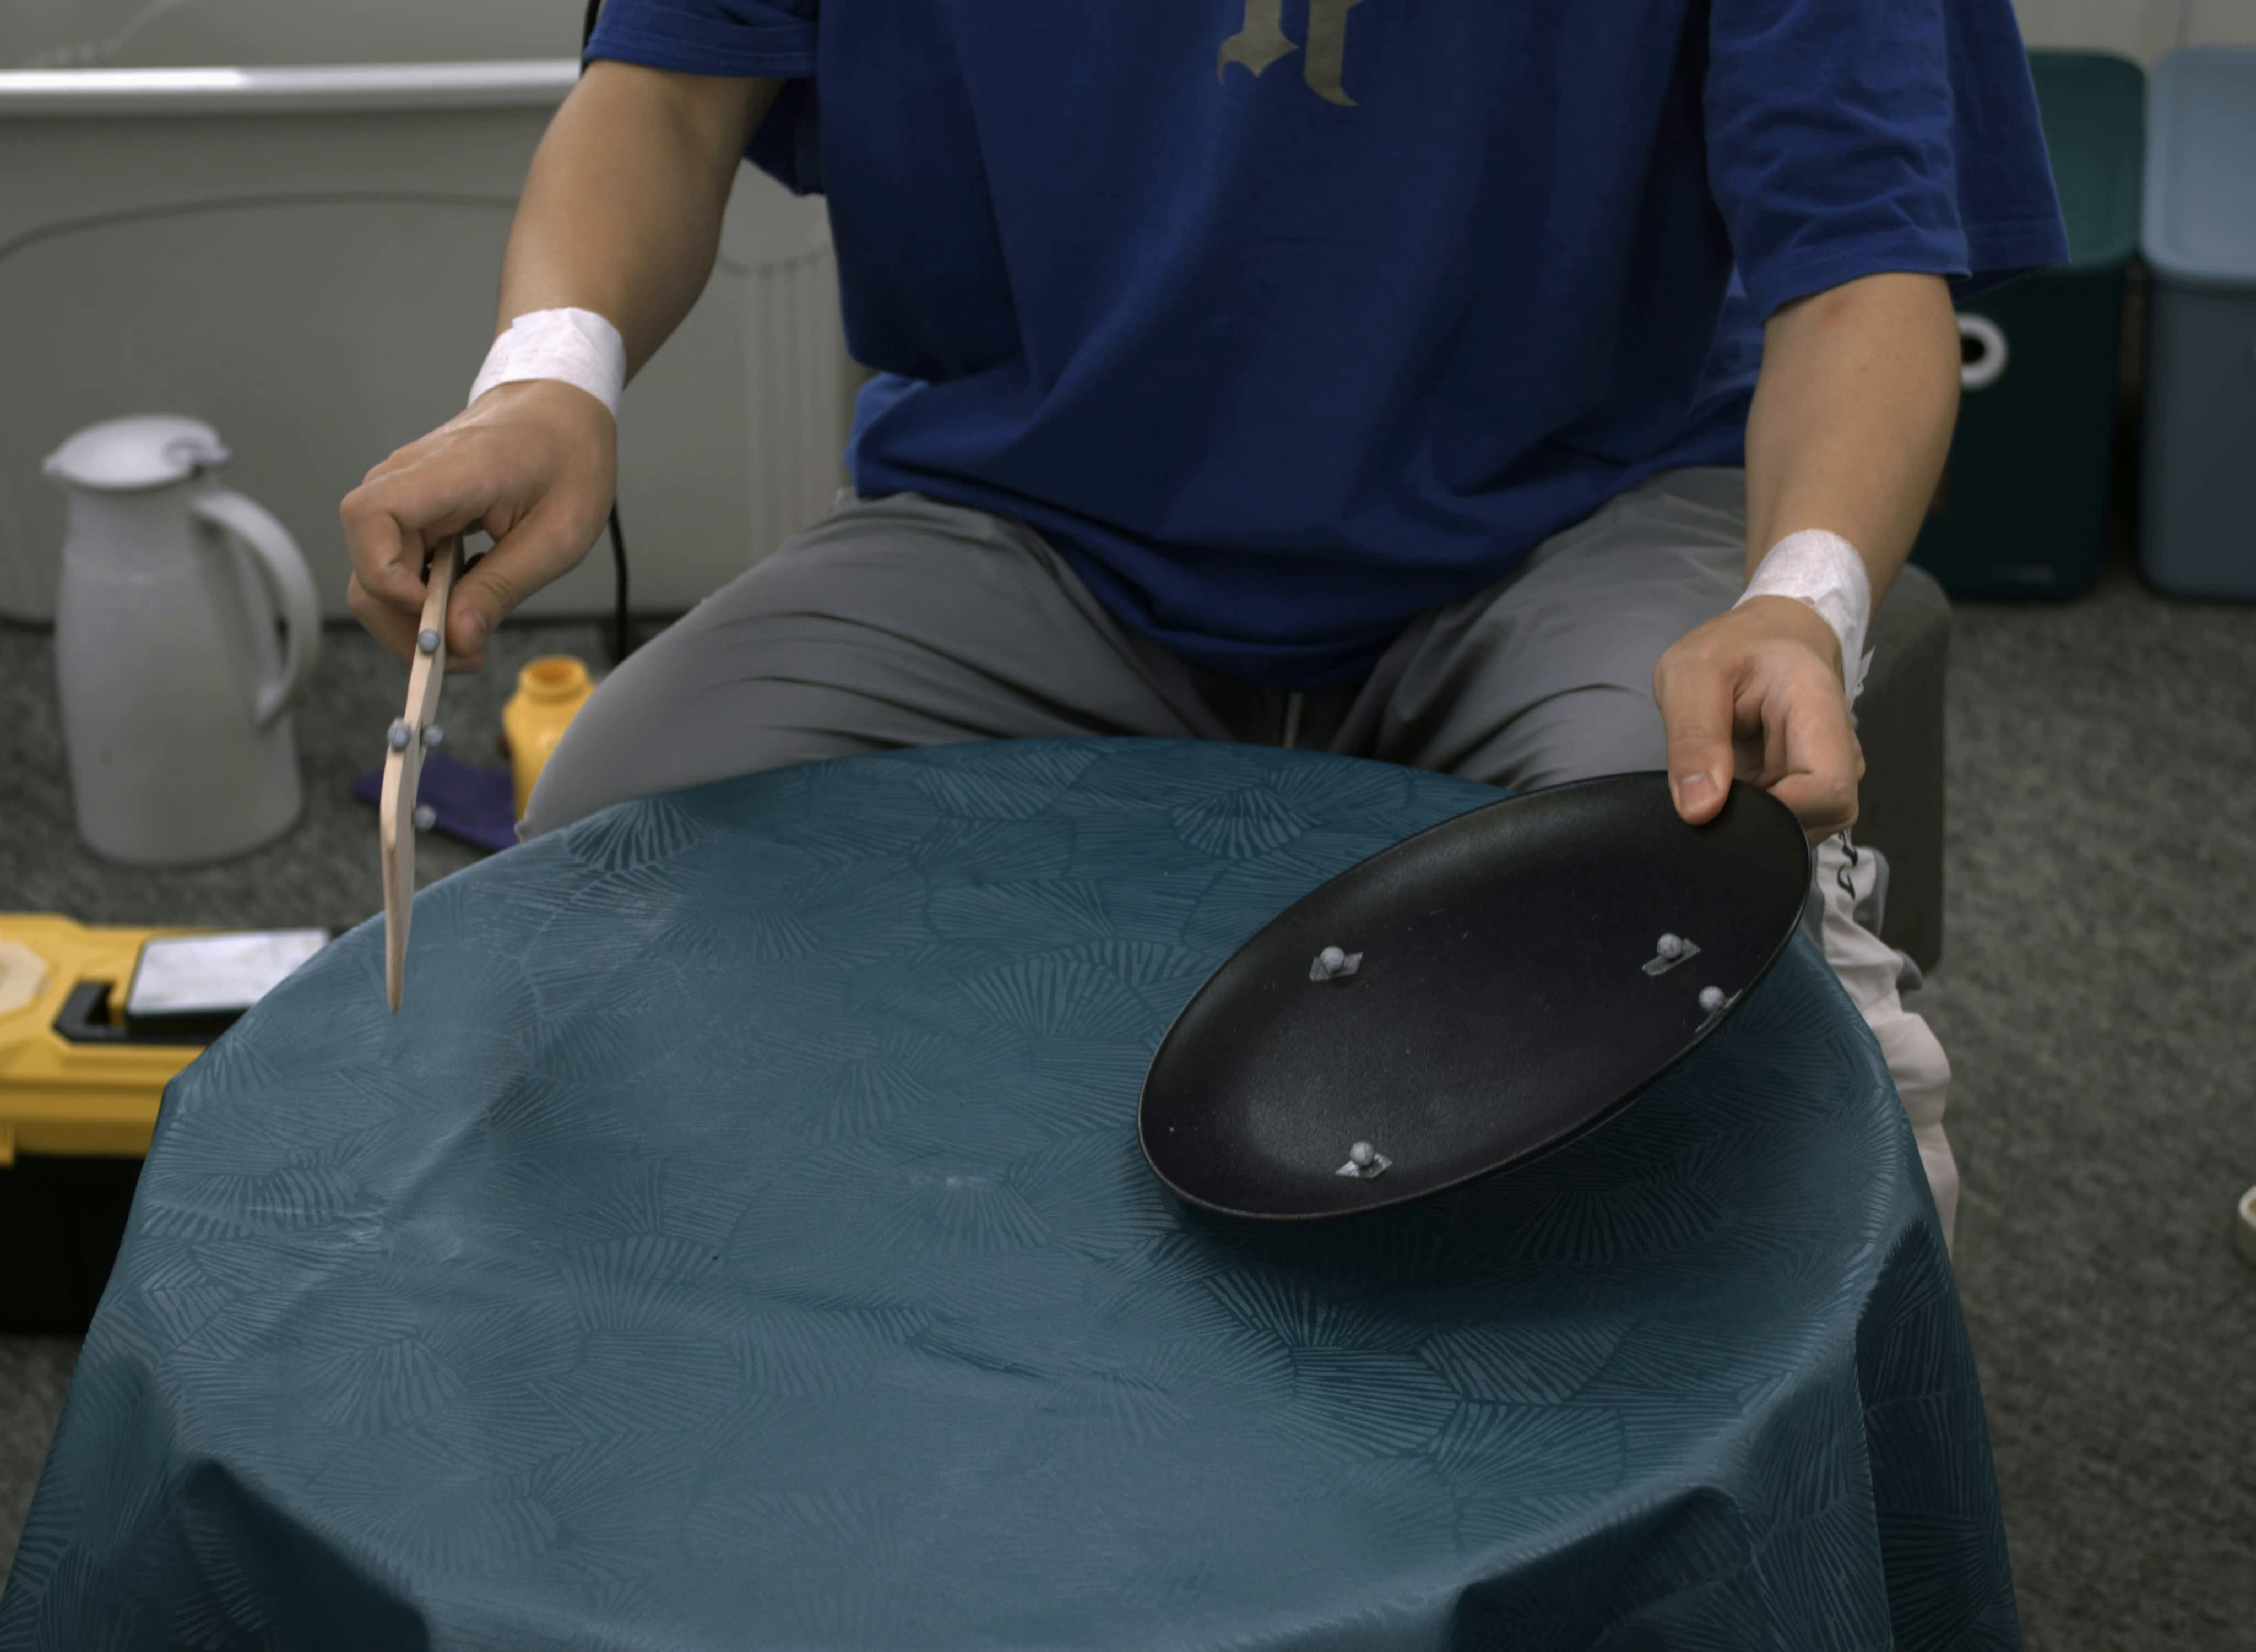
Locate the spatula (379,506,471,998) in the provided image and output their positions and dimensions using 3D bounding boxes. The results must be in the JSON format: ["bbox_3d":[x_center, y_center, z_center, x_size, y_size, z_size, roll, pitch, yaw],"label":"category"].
[{"bbox_3d":[-0.247,-0.041,1.975,0.010,0.071,0.297,1,28,-2],"label":"spatula"}]

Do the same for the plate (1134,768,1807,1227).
[{"bbox_3d":[0.115,0.061,1.856,0.242,0.023,0.248,-23,24,11],"label":"plate"}]
